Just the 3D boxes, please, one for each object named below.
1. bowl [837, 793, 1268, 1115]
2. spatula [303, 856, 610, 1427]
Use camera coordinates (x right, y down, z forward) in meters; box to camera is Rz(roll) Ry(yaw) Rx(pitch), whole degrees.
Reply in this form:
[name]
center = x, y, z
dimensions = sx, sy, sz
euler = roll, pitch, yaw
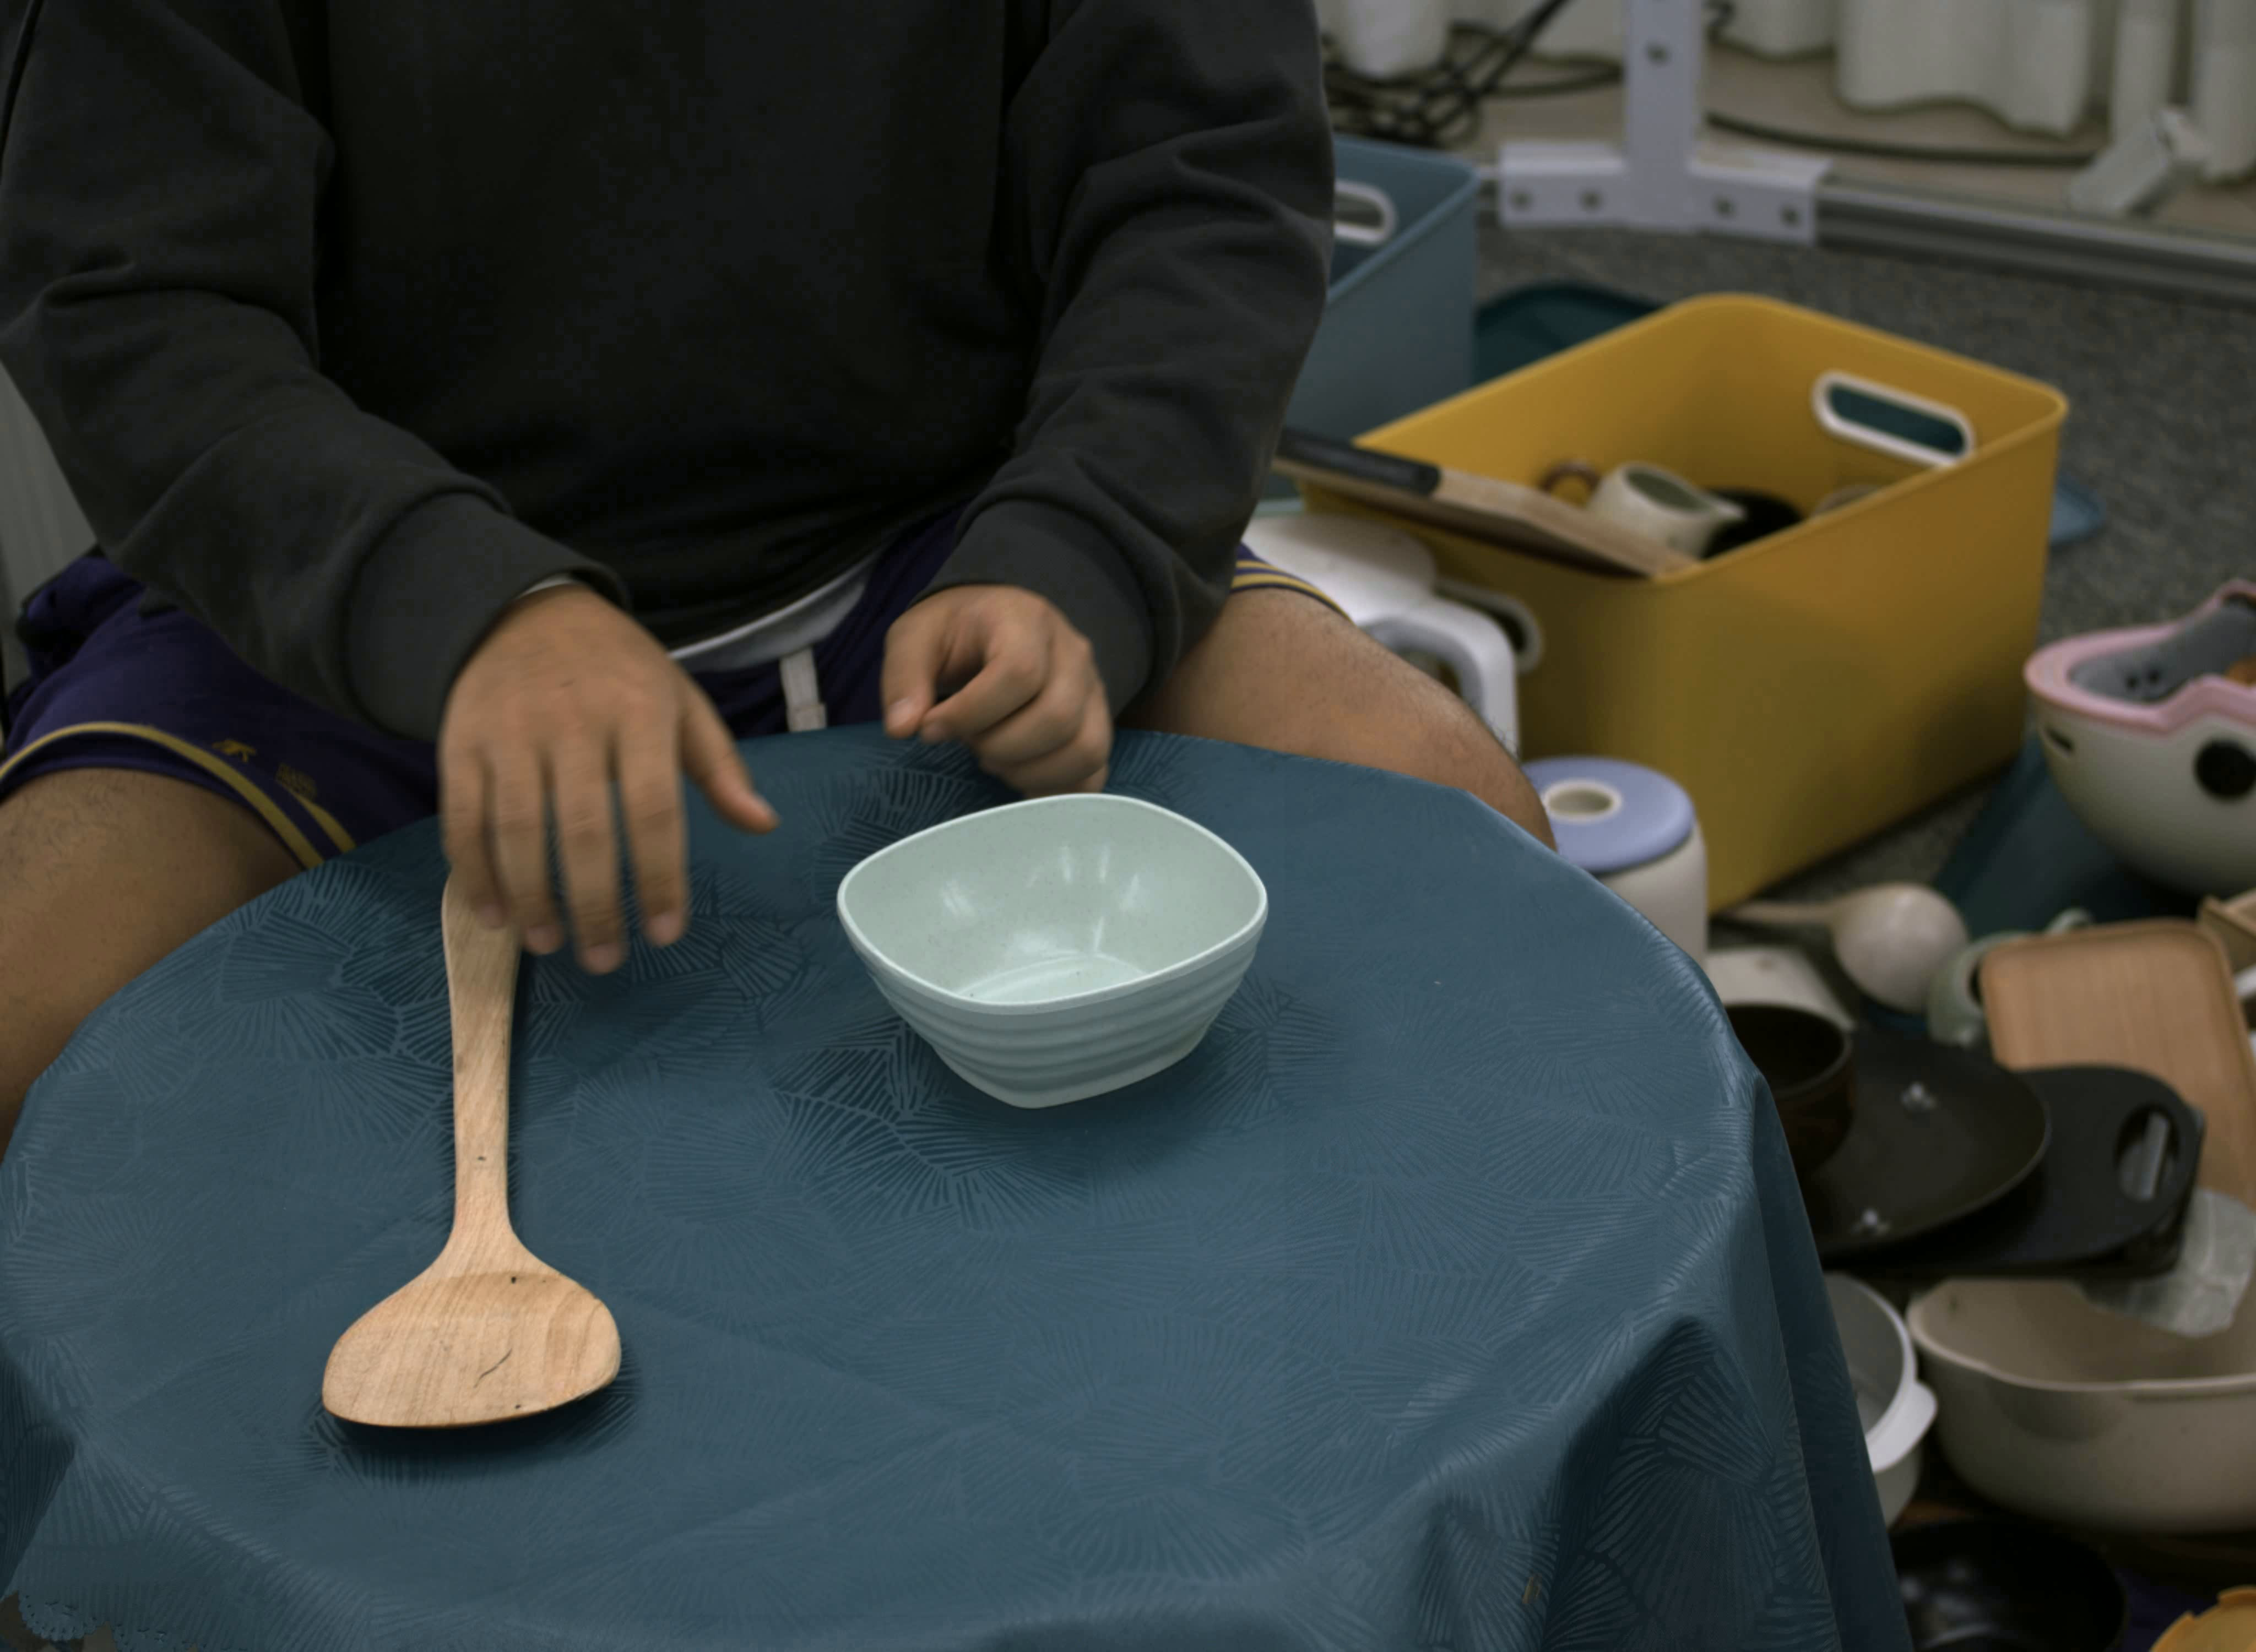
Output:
[bowl]
center = -0.025, 0.050, 1.945
dimensions = 0.151, 0.058, 0.154
euler = -1, 29, 1
[spatula]
center = -0.226, 0.100, 1.907
dimensions = 0.095, 0.018, 0.396
euler = -3, 28, -5
